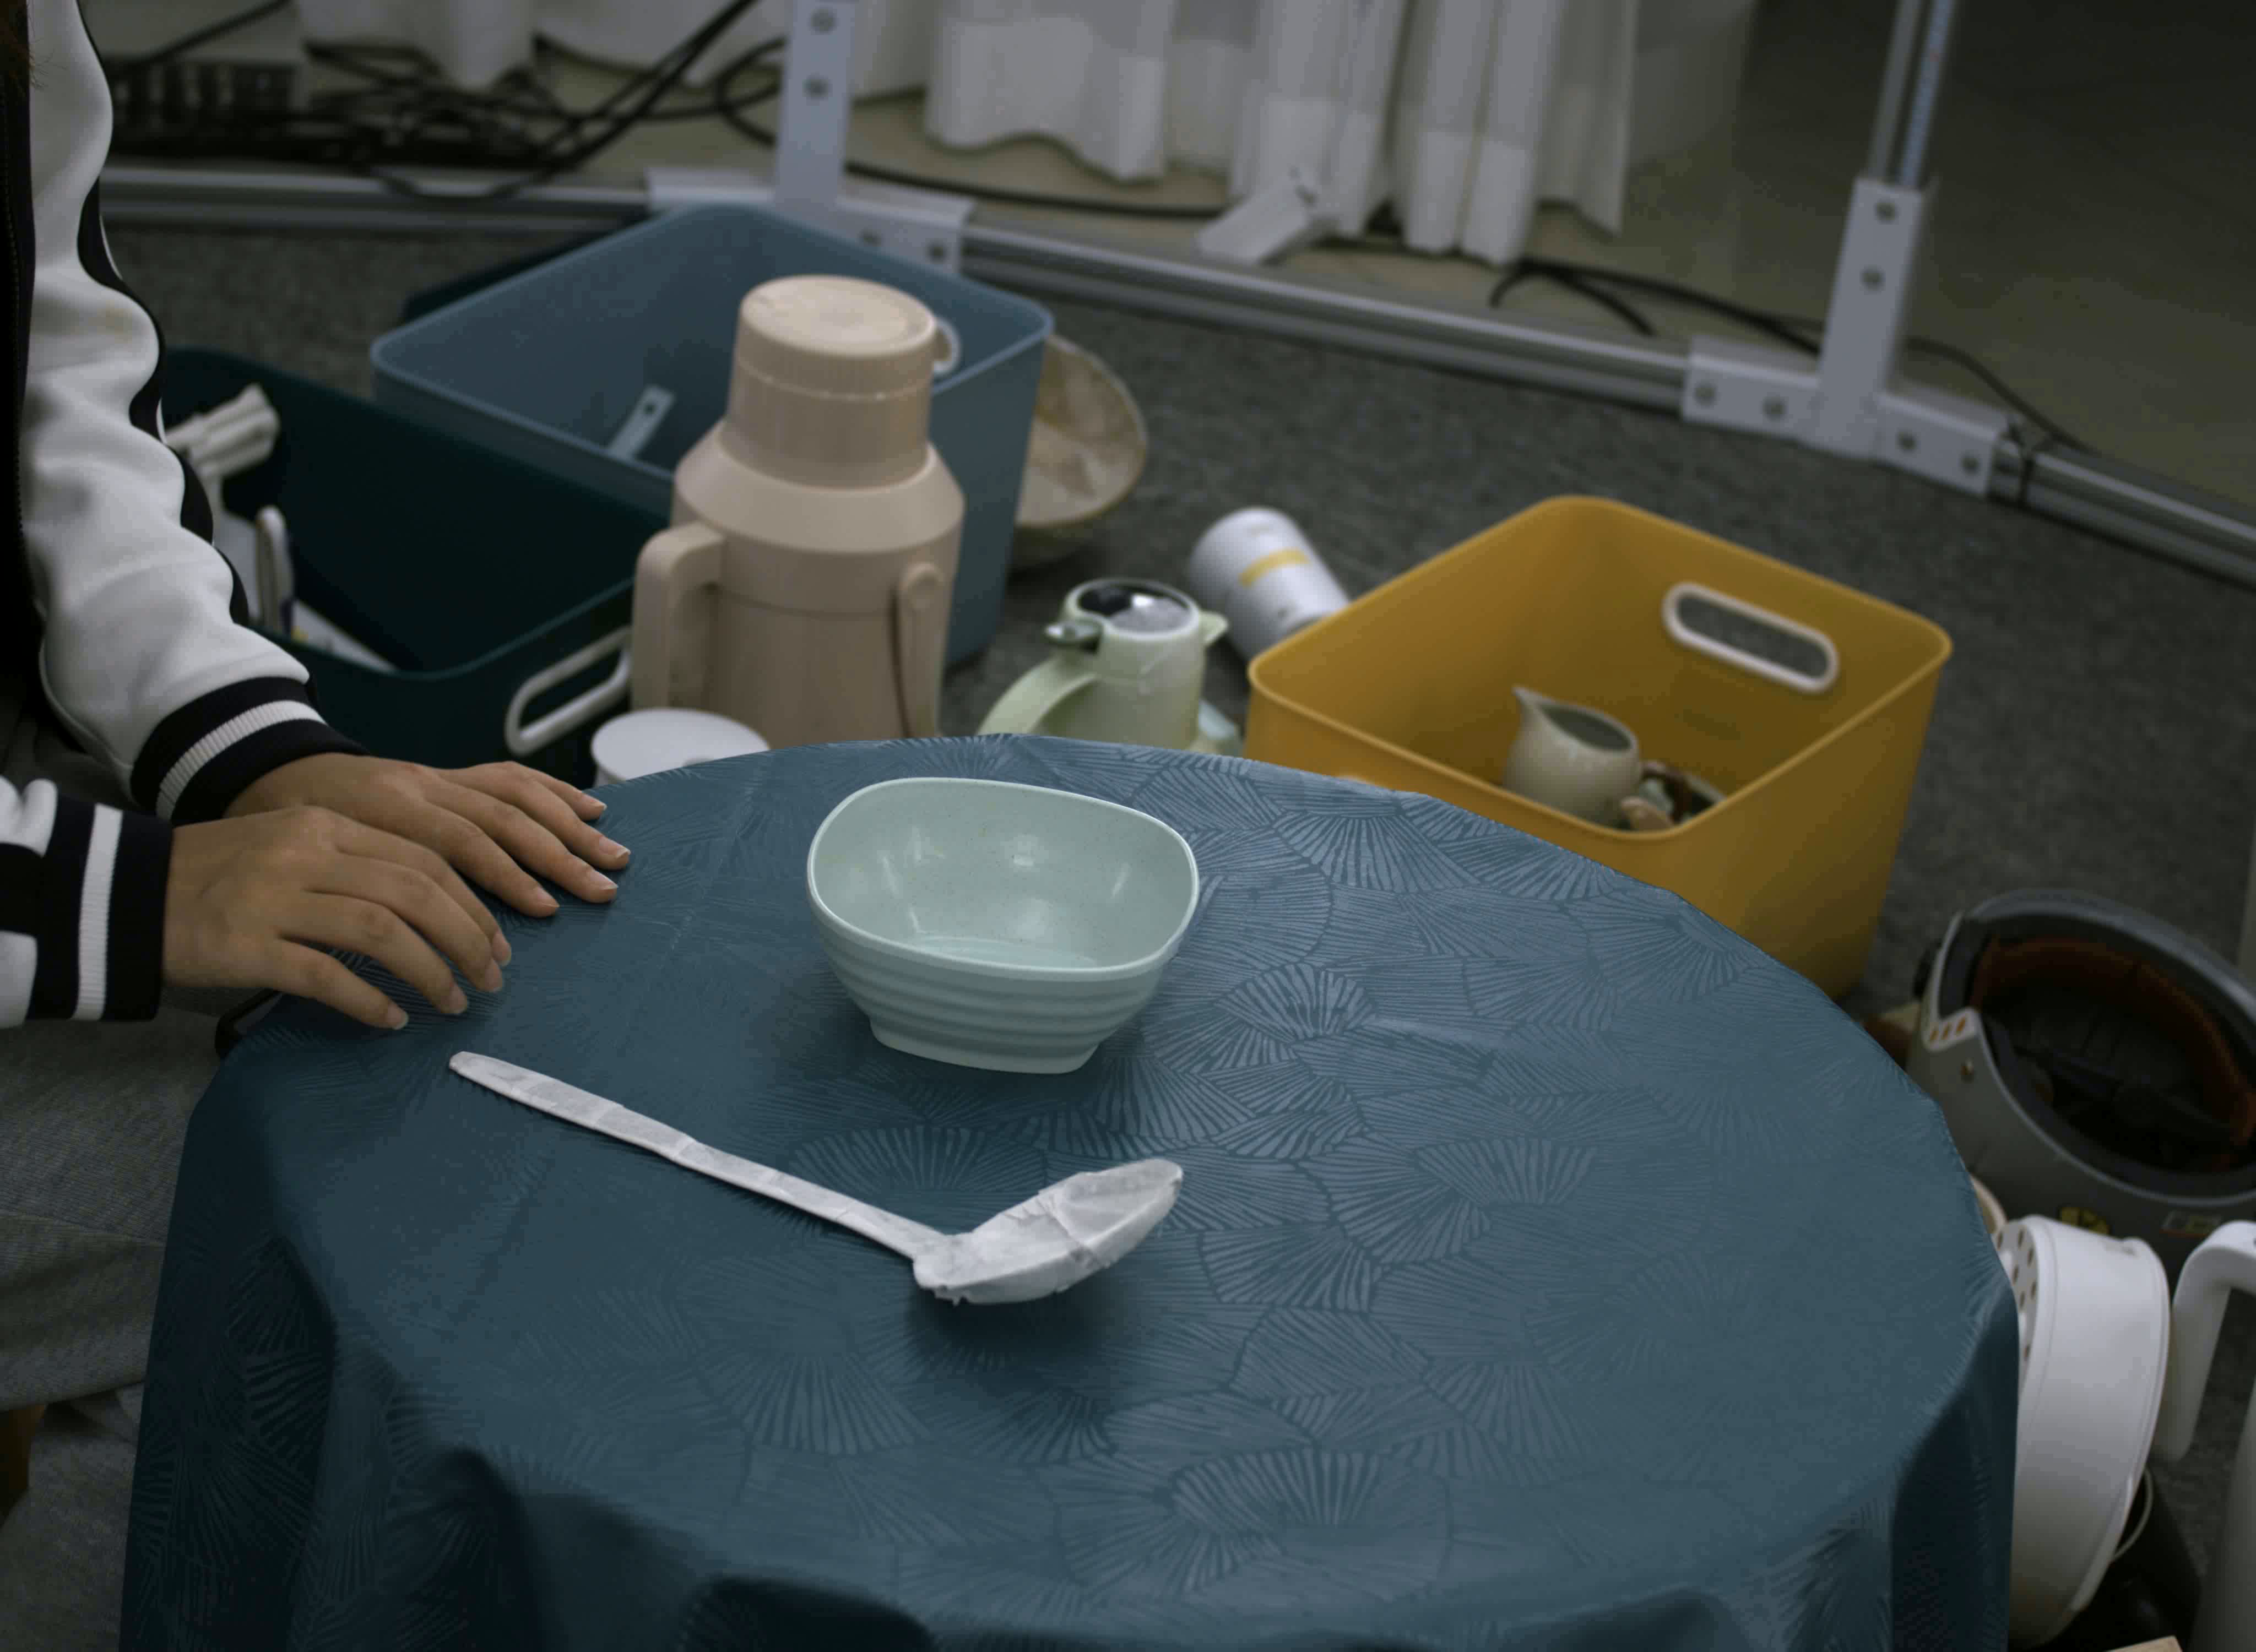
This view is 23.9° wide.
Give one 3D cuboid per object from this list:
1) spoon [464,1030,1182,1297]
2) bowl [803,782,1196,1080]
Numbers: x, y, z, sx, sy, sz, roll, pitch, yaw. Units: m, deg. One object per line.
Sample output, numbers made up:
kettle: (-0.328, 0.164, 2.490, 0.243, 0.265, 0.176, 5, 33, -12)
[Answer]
spoon: (-0.107, 0.095, 1.771, 0.279, 0.059, 0.100, 22, 25, 27)
bowl: (-0.048, 0.043, 1.892, 0.151, 0.058, 0.152, 5, 27, -3)
